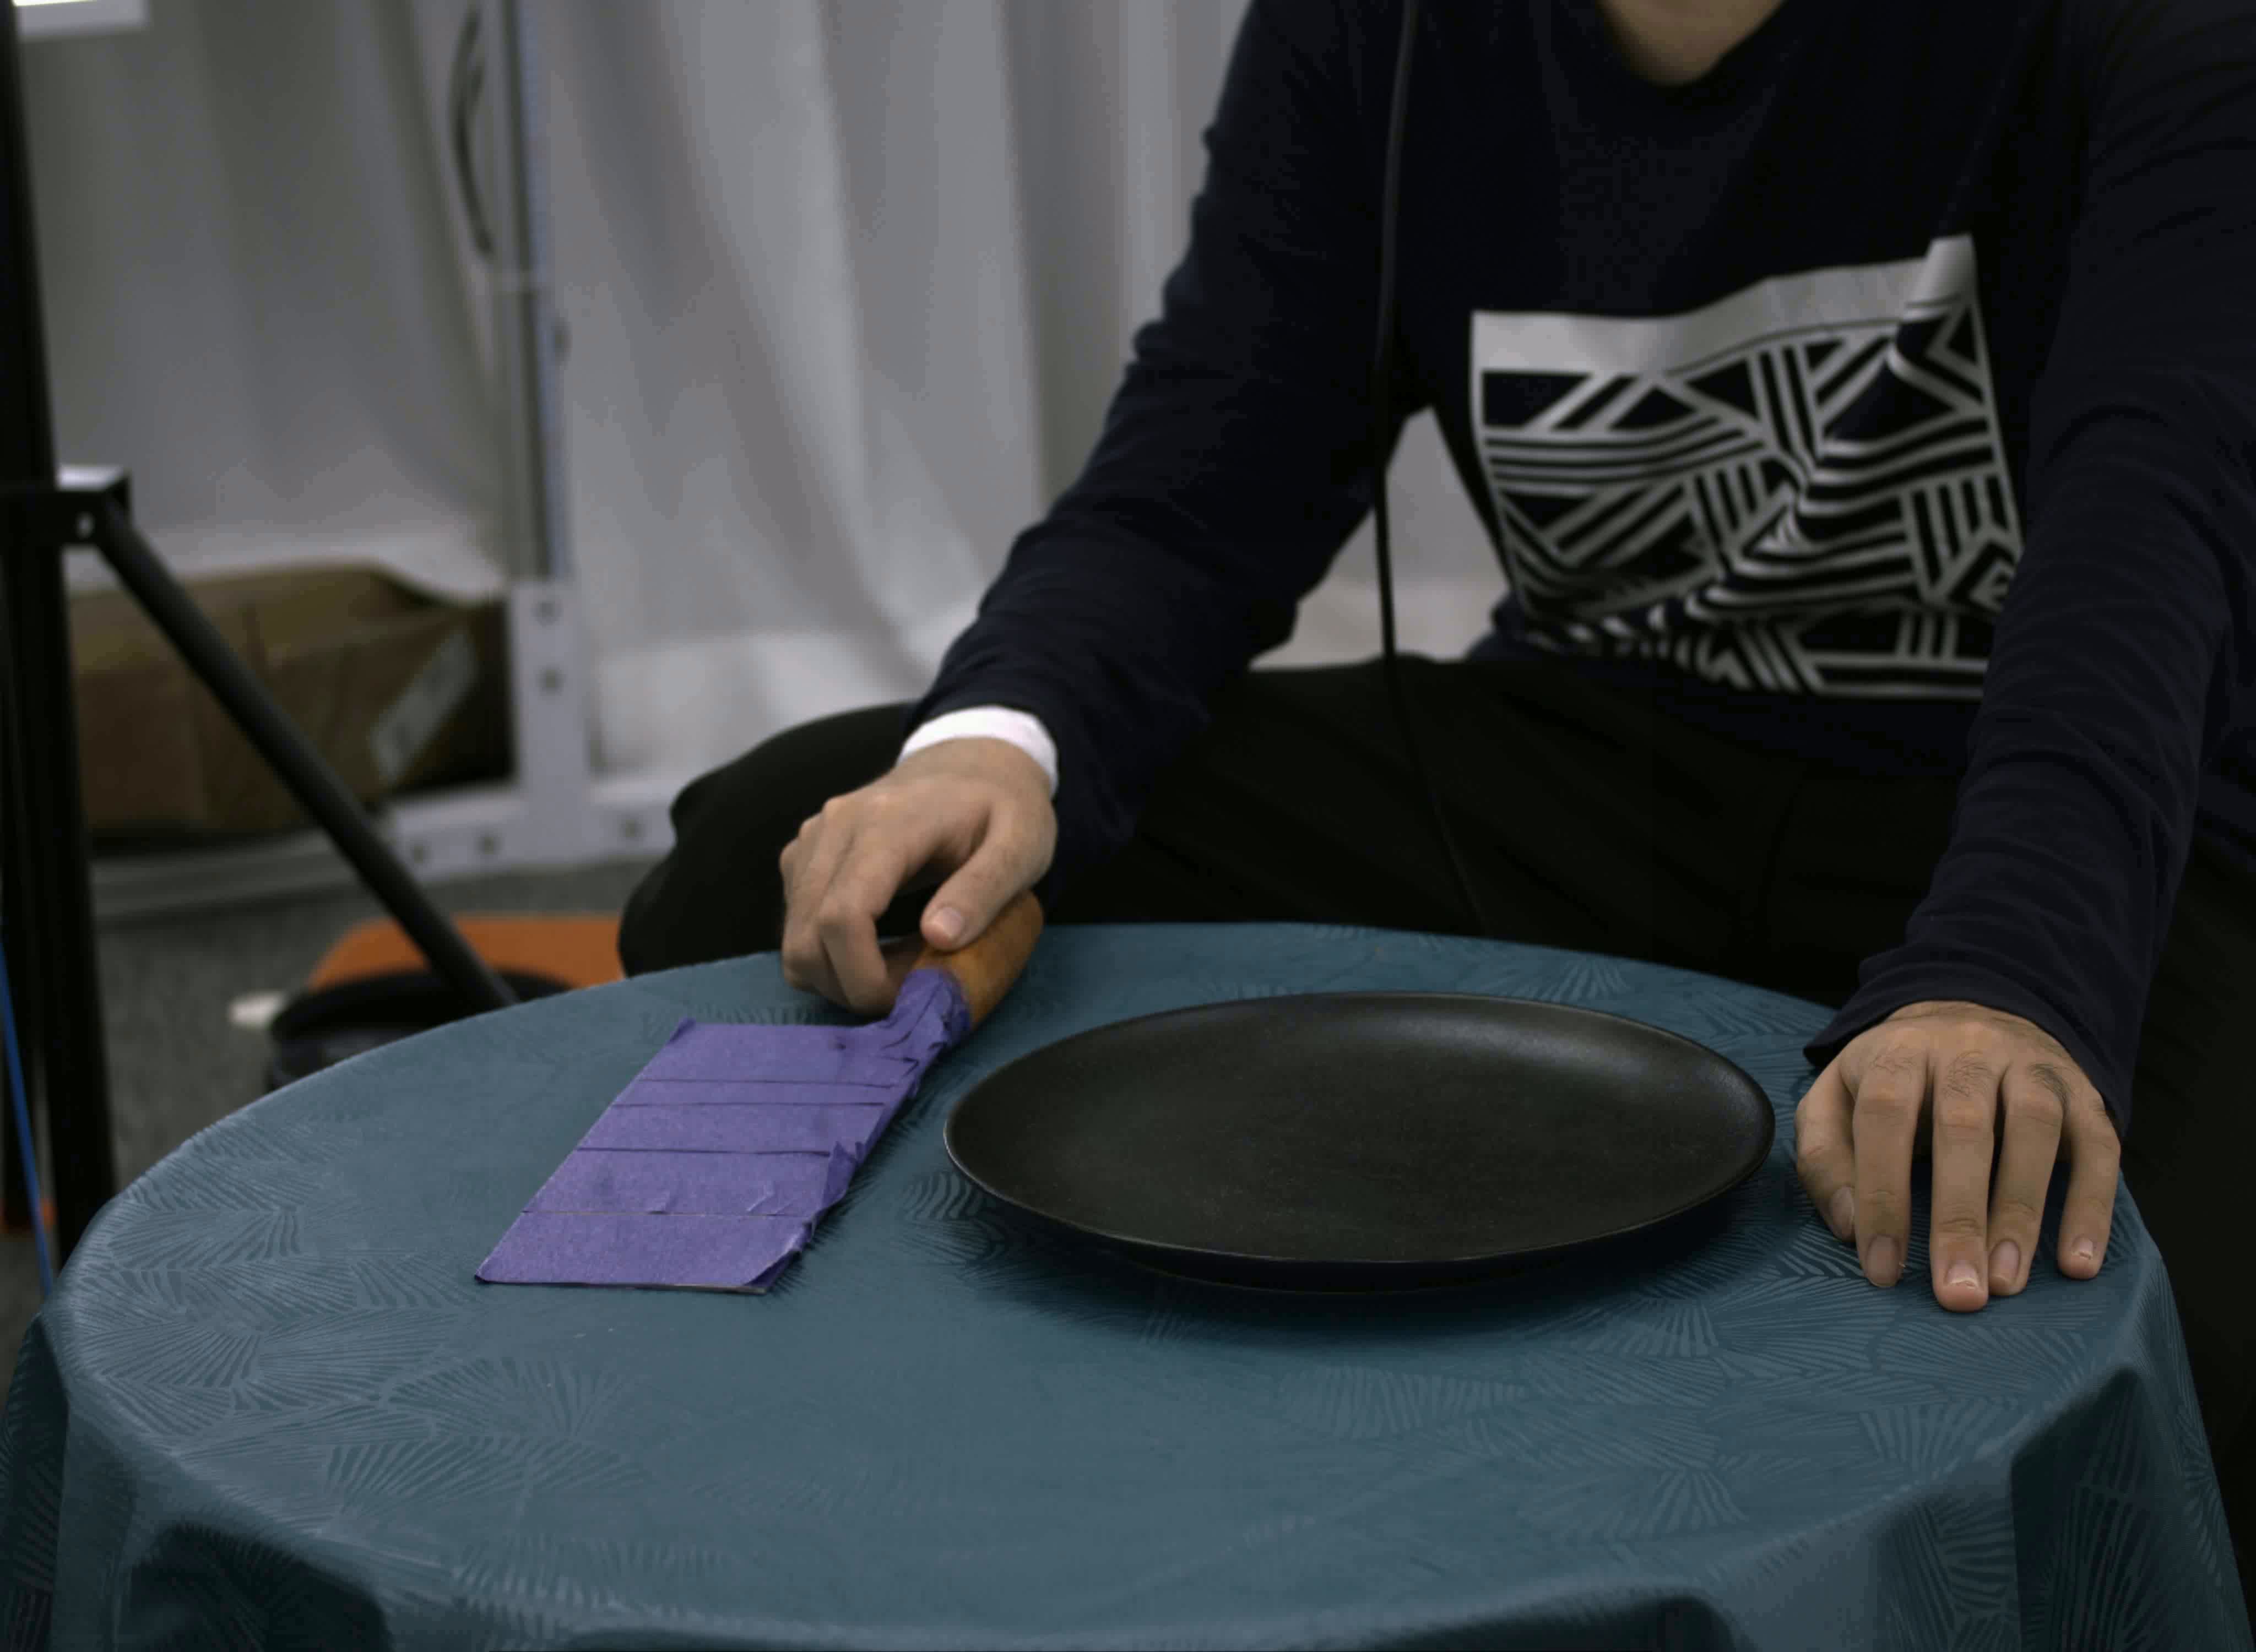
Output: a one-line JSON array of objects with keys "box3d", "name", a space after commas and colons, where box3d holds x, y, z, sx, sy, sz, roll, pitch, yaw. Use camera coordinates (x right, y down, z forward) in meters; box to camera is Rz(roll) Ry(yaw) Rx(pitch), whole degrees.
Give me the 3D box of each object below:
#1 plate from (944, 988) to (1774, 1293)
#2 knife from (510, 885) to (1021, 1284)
[{"box3d": [0.067, 0.095, 1.556, 0.243, 0.023, 0.245, -3, 16, -1], "name": "plate"}, {"box3d": [-0.109, 0.076, 1.641, 0.104, 0.032, 0.313, 1, 17, 12], "name": "knife"}]
